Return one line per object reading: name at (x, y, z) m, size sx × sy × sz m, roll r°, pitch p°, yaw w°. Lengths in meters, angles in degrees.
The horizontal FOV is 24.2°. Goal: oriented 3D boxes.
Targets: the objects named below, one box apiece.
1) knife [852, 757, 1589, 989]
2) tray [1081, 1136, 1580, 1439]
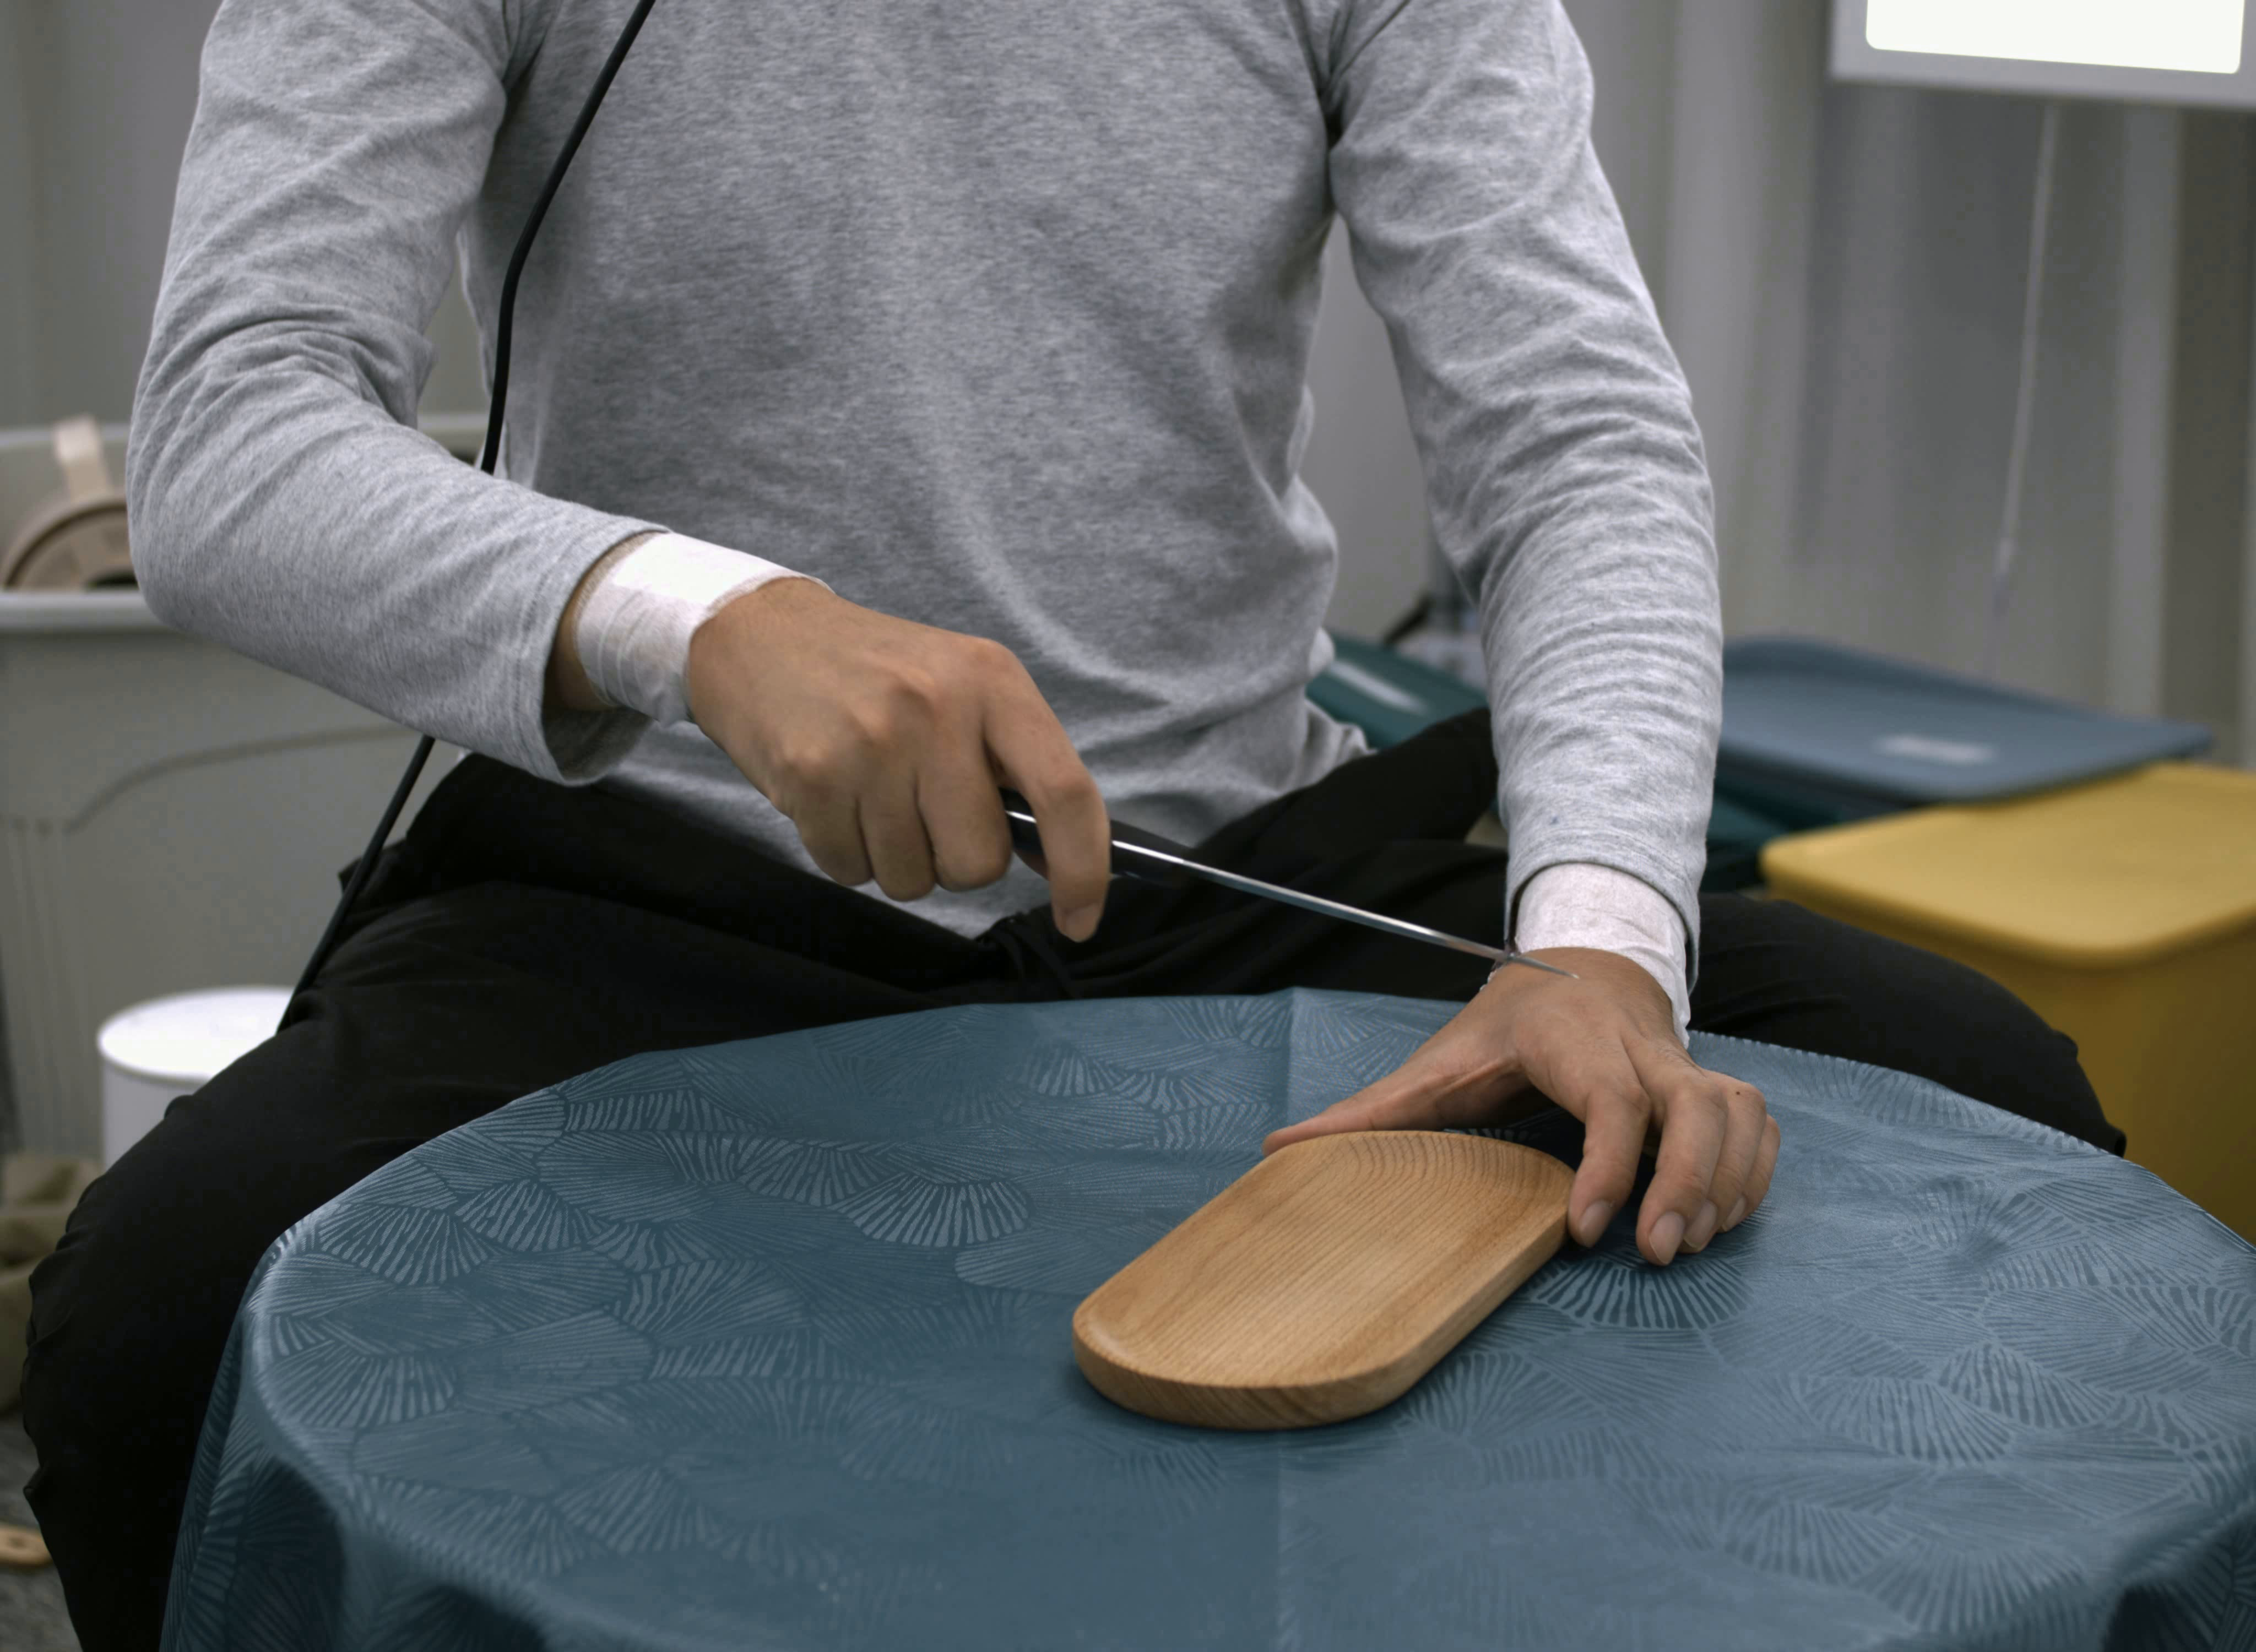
knife at (0.024, 0.015, 1.562) m, size 0.236 × 0.016 × 0.024 m, roll 16°, pitch -8°, yaw 16°
tray at (0.062, 0.132, 1.530) m, size 0.101 × 0.020 × 0.231 m, roll 4°, pitch 17°, yaw 21°
